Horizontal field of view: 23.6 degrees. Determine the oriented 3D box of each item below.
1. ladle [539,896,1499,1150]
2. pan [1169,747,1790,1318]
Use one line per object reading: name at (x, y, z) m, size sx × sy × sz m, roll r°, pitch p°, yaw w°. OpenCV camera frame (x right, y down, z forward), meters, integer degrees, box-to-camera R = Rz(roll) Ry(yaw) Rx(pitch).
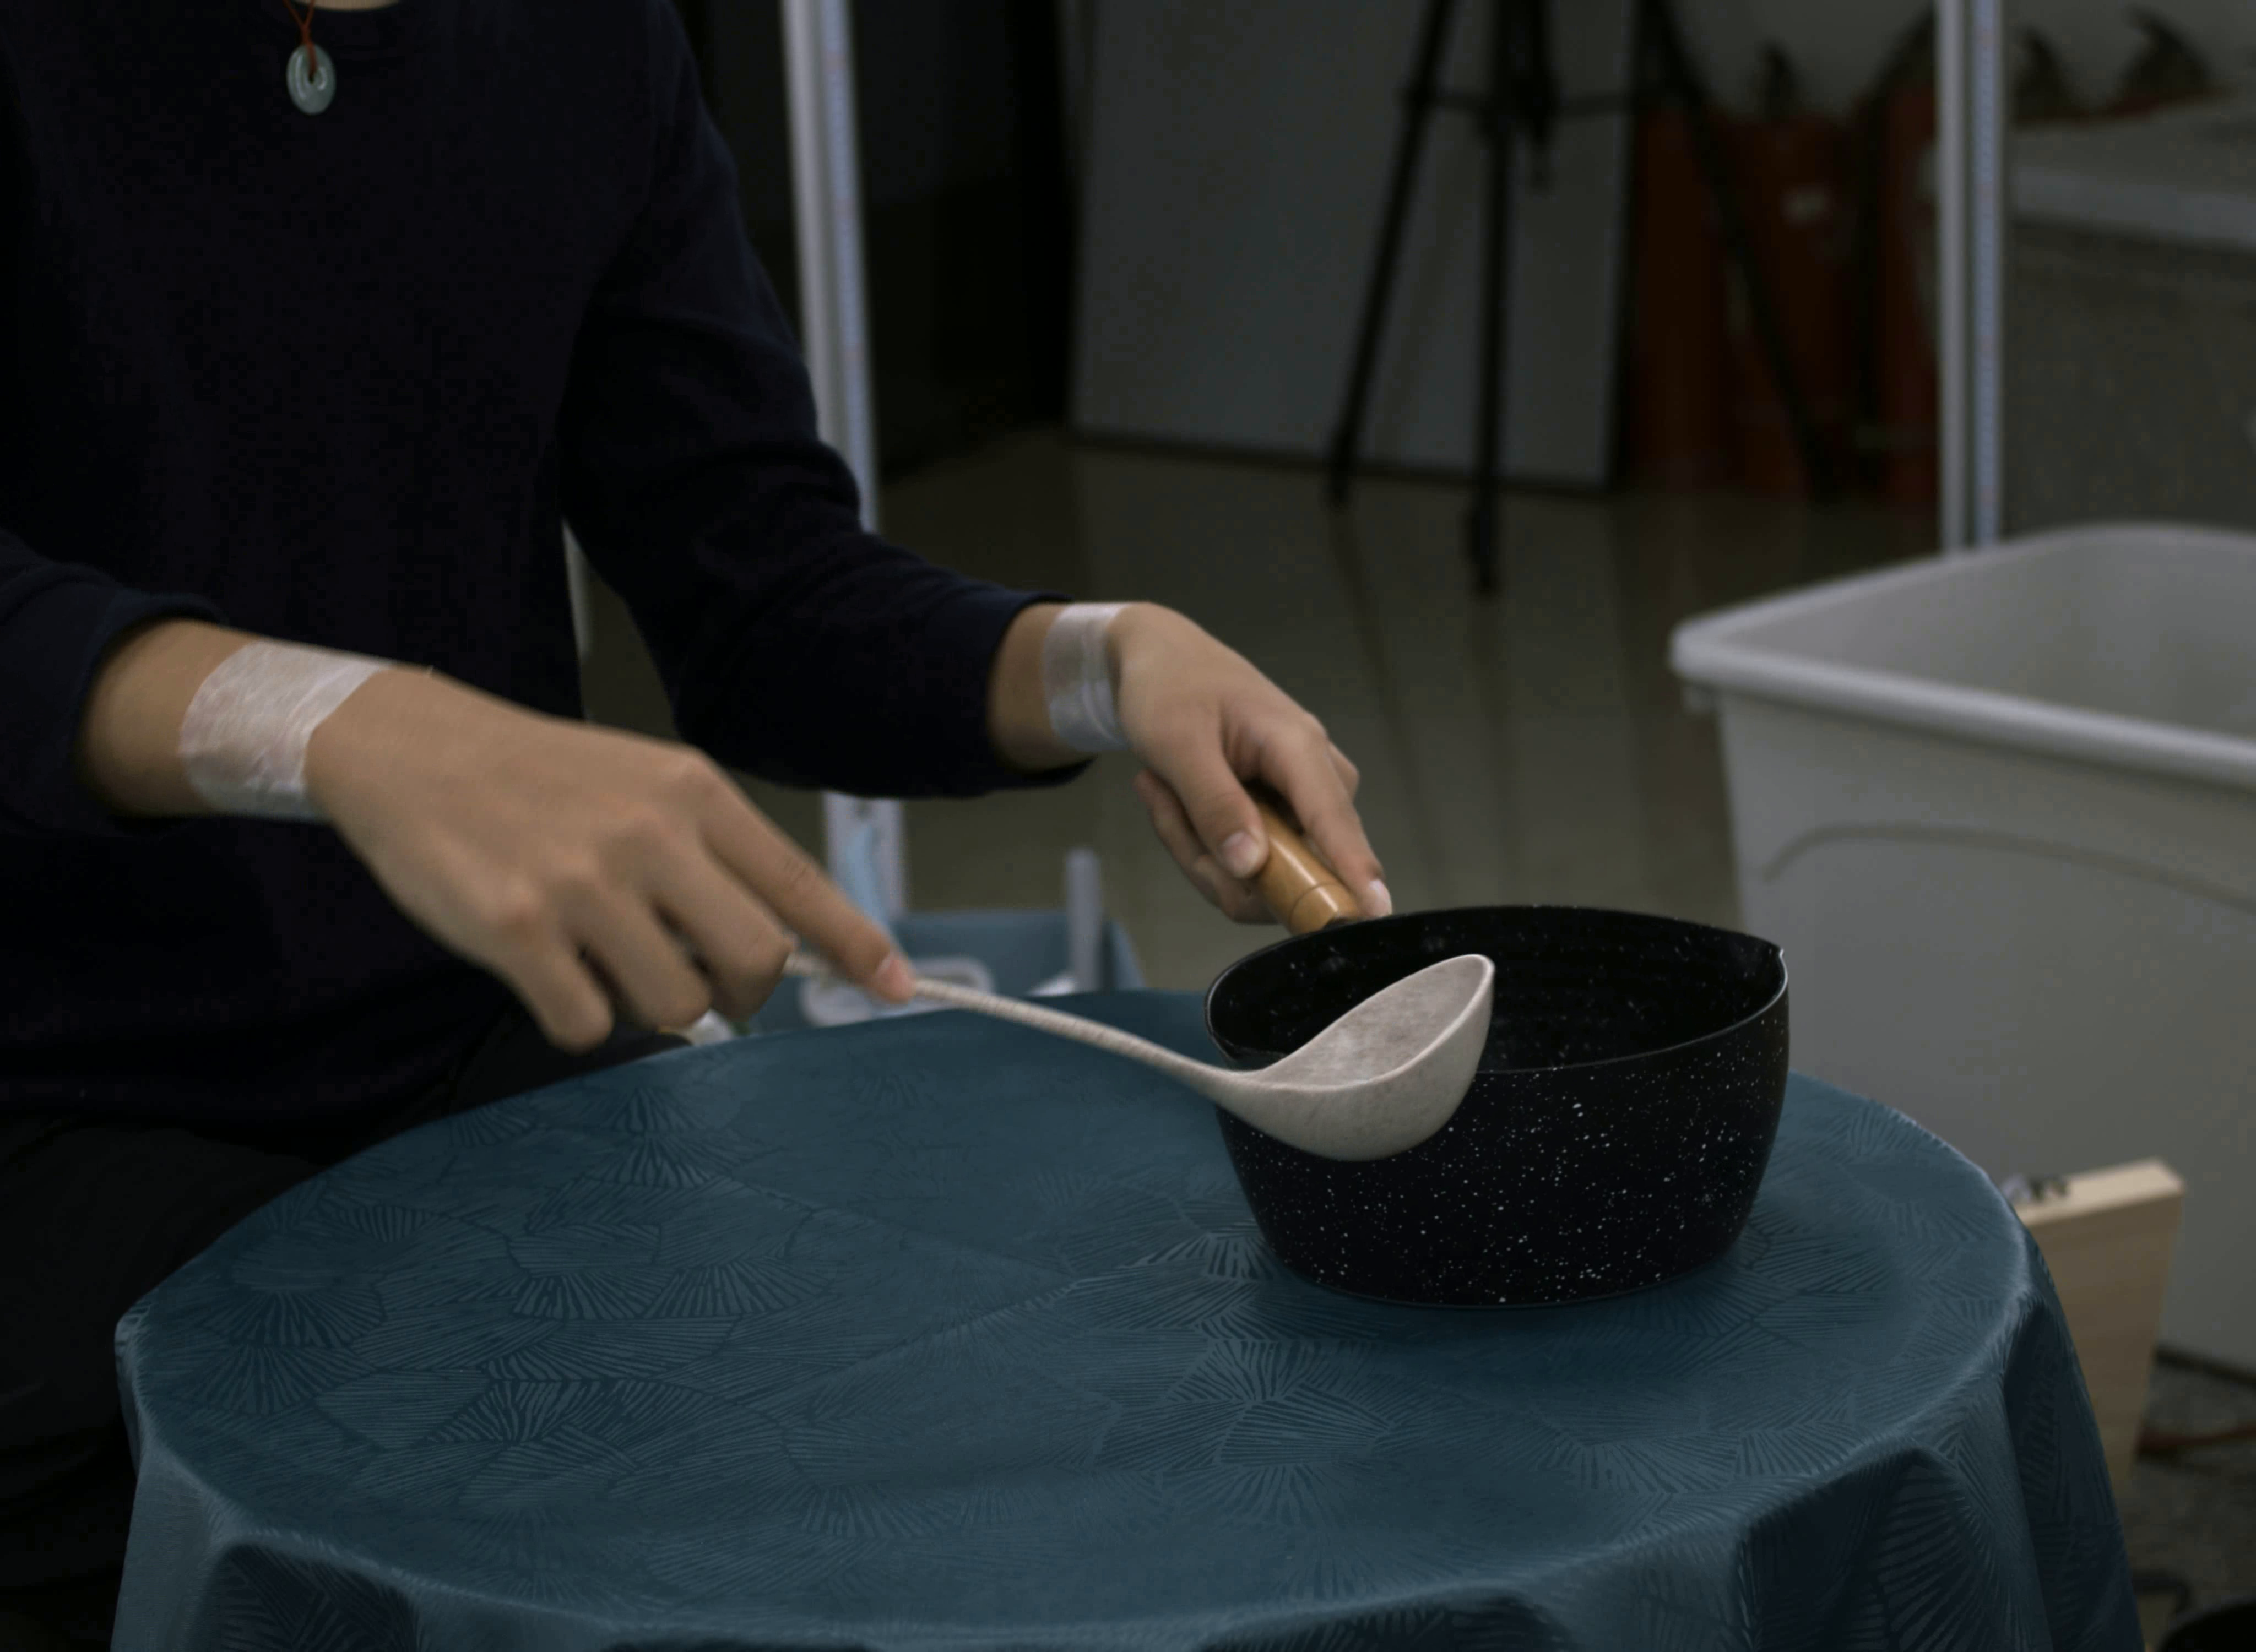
ladle at (-0.027, 0.029, 1.516) m, size 0.270 × 0.070 × 0.090 m, roll 17°, pitch 0°, yaw -14°
pan at (0.086, 0.061, 1.761) m, size 0.203 × 0.109 × 0.346 m, roll -10°, pitch 16°, yaw -20°
